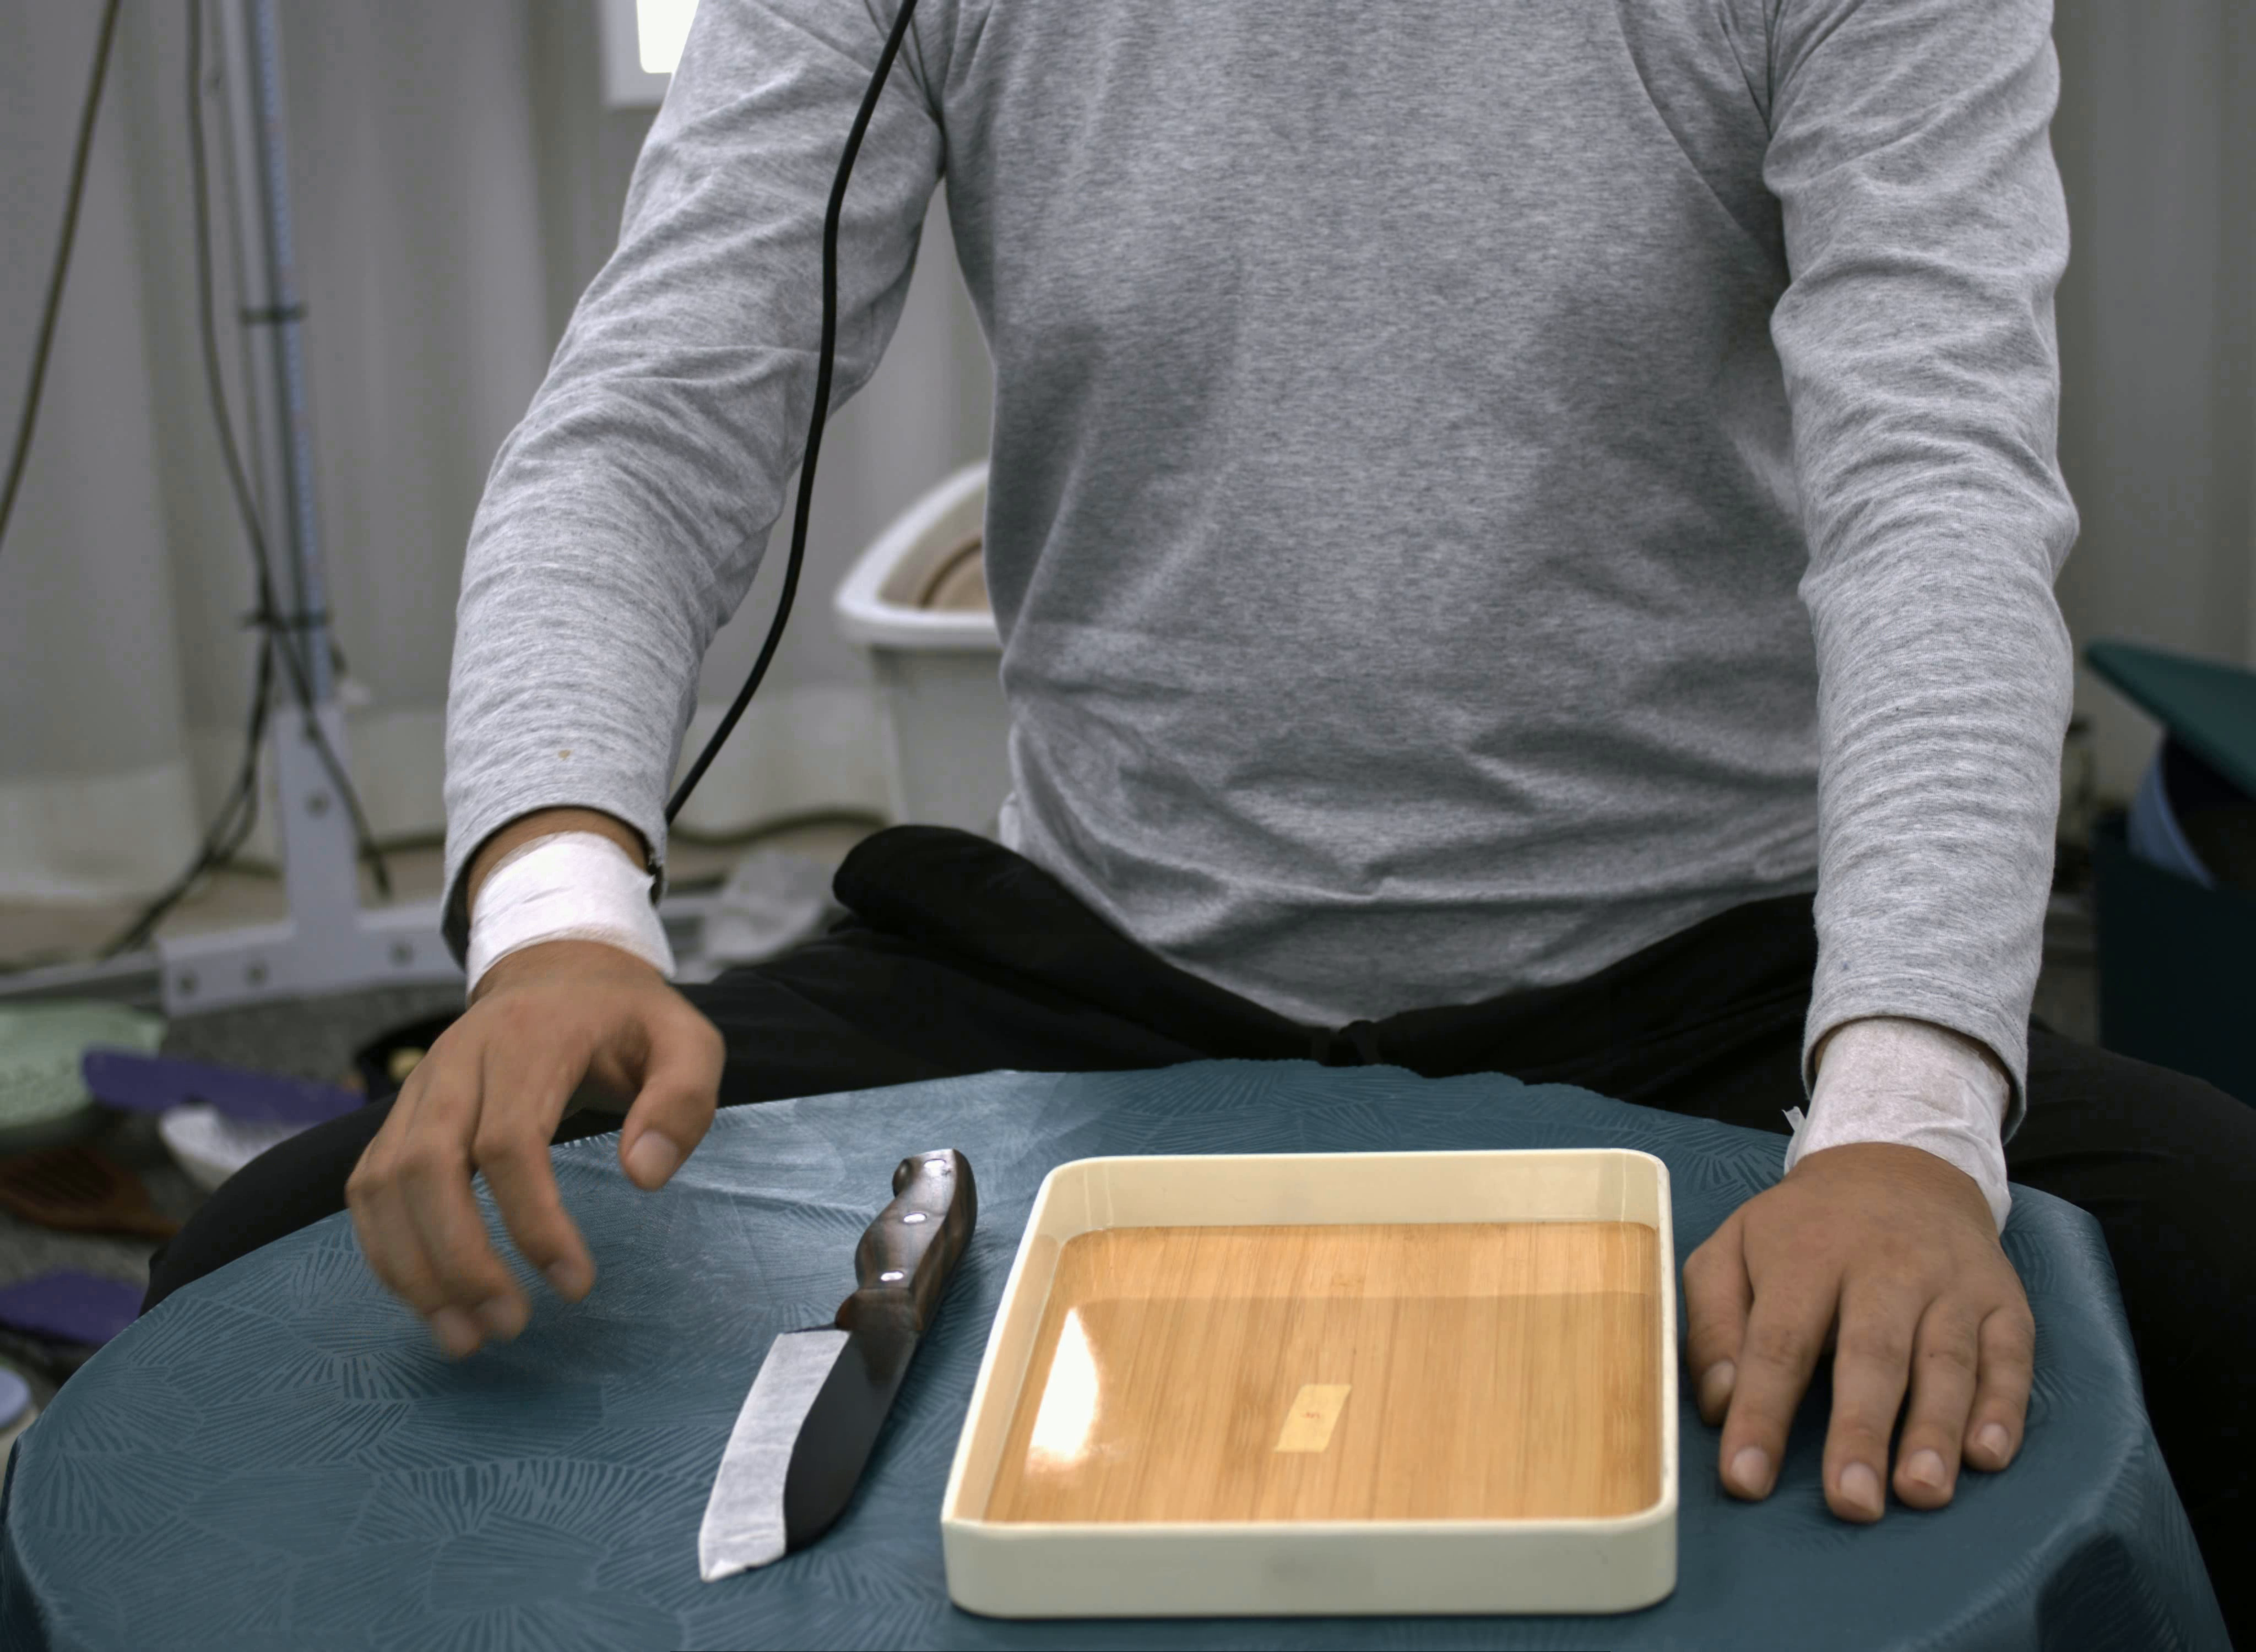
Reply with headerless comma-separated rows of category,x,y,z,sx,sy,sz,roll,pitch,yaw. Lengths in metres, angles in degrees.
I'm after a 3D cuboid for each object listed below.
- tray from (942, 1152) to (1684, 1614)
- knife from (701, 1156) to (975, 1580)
tray,0.058,0.151,1.521,0.191,0.027,0.302,-1,15,6
knife,-0.081,0.153,1.559,0.050,0.020,0.291,-5,16,11
